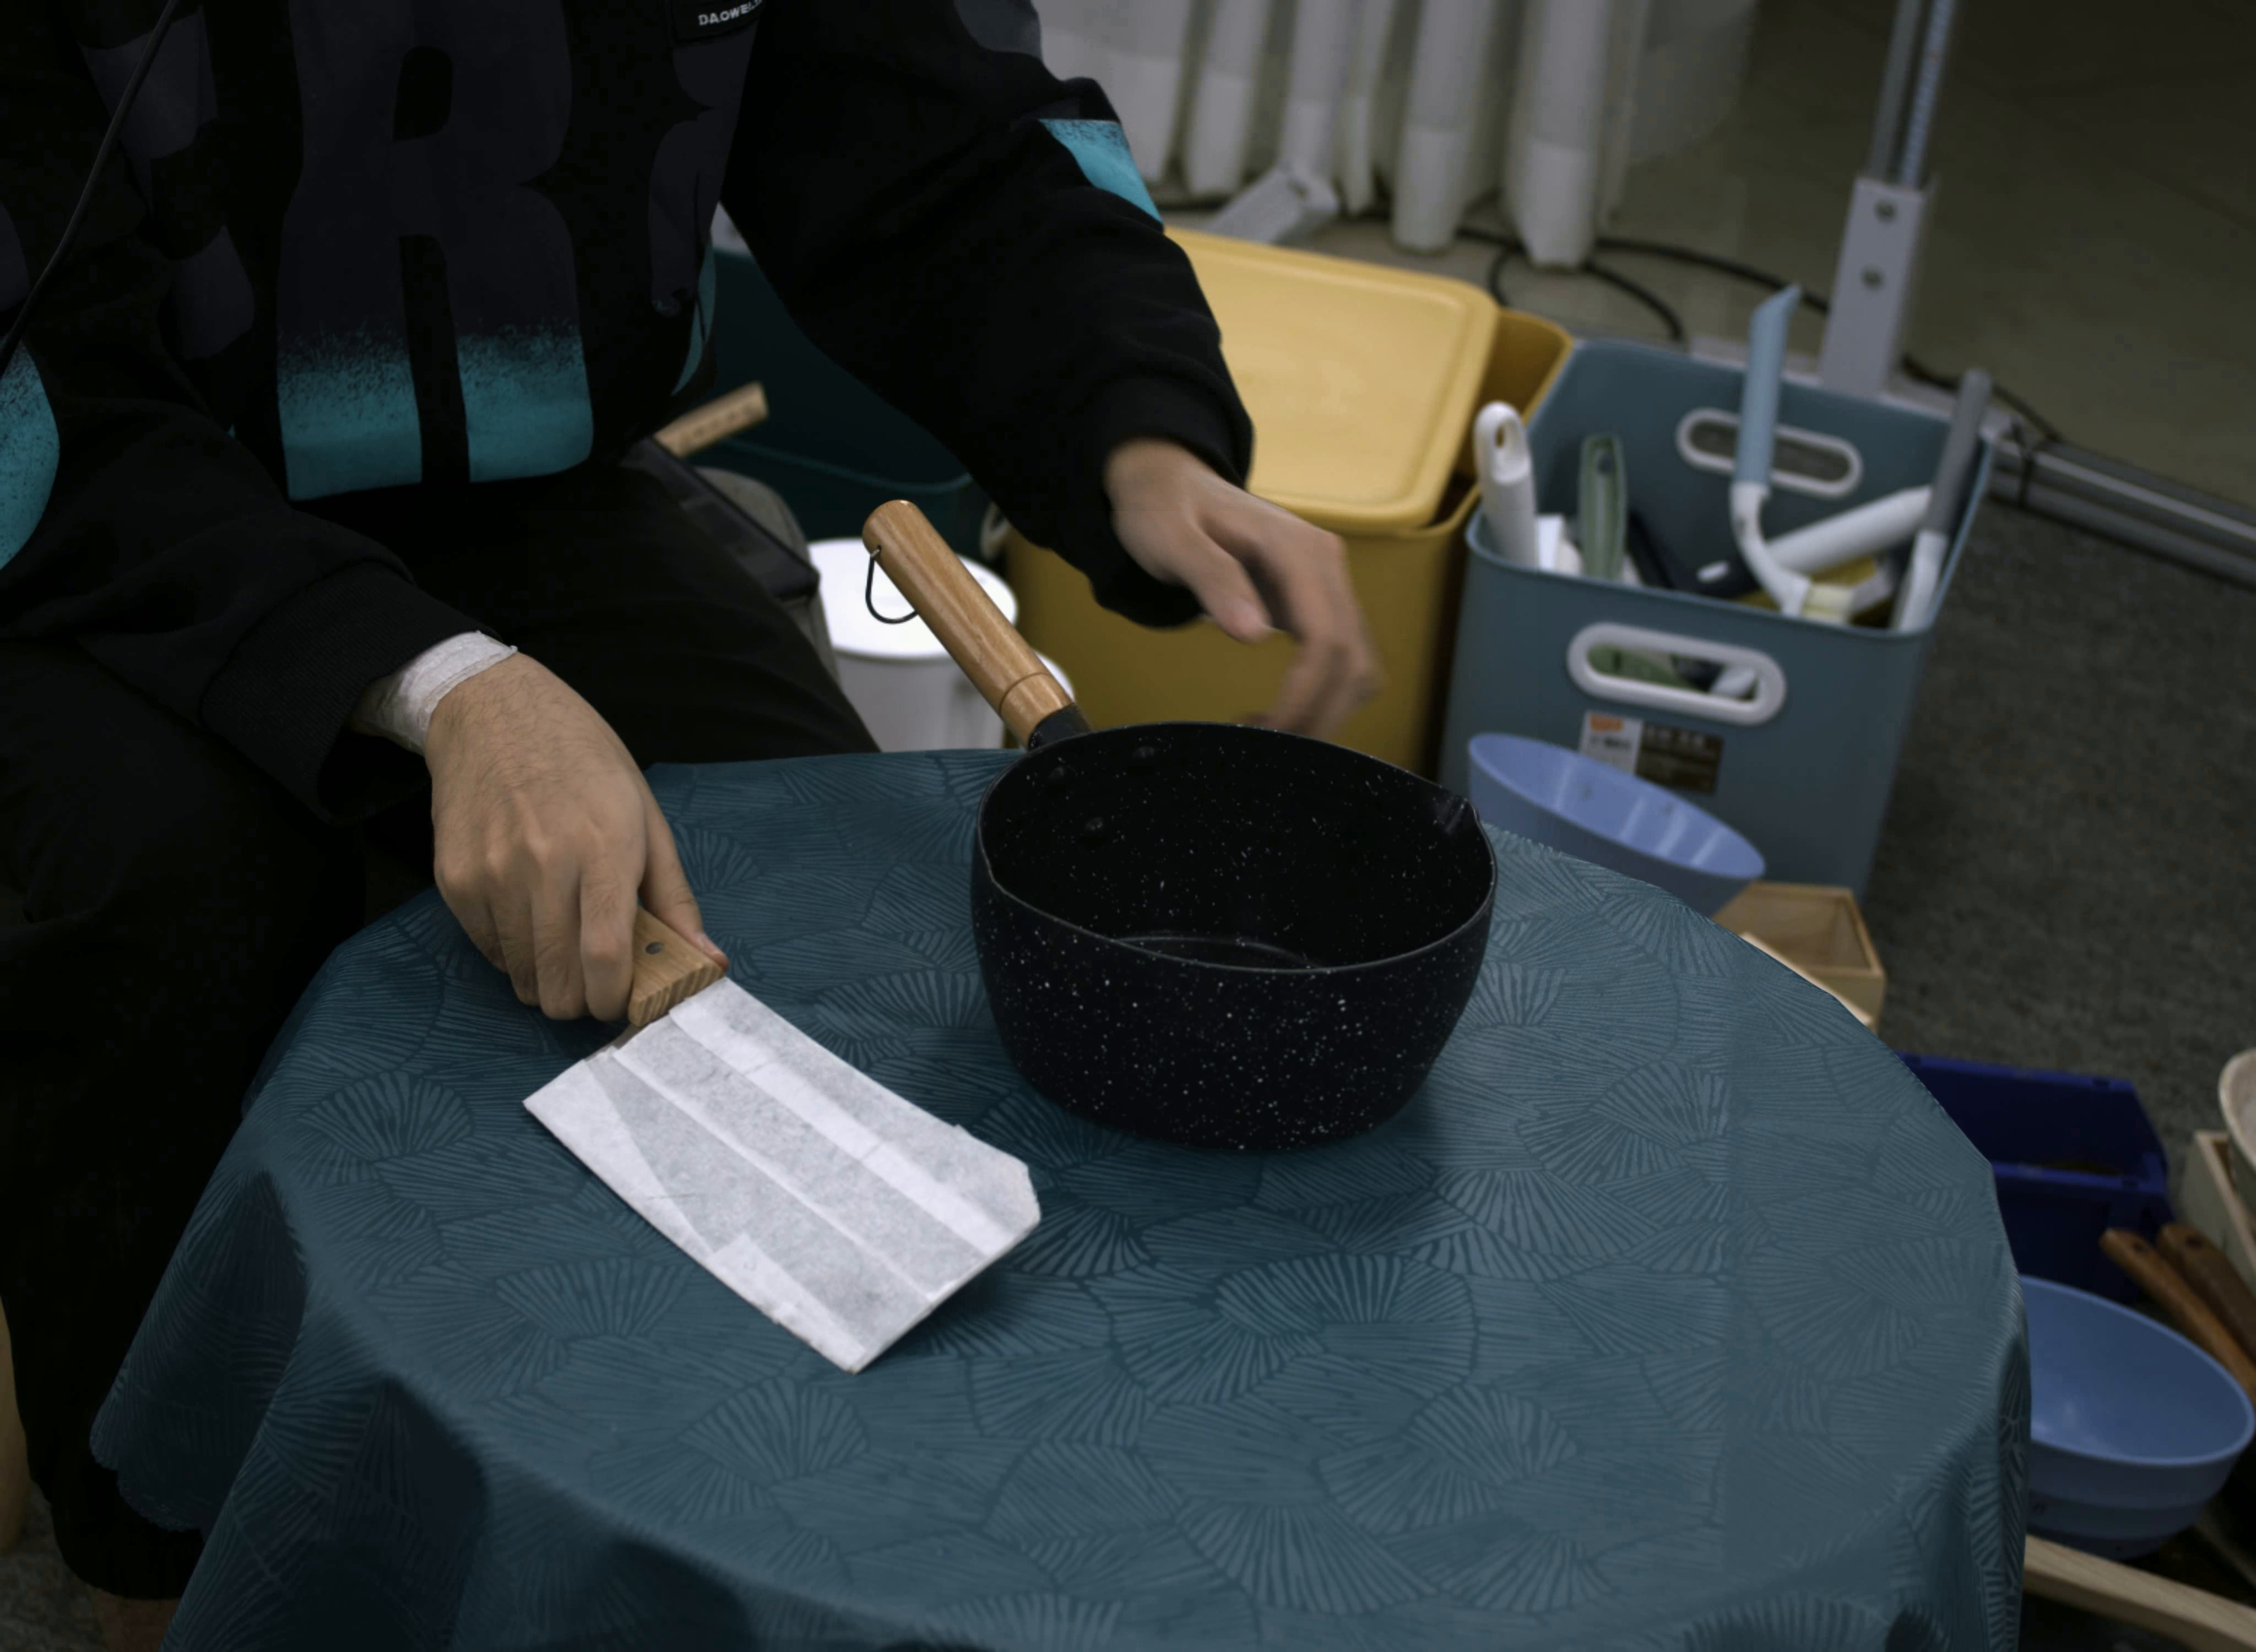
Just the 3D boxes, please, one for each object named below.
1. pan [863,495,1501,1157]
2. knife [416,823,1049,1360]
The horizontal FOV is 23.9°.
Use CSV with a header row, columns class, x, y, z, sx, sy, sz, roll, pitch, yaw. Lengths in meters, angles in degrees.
class,x,y,z,sx,sy,sz,roll,pitch,yaw
pan,-0.008,-0.003,1.928,0.206,0.108,0.346,-13,34,-32
knife,-0.147,0.081,1.806,0.113,0.021,0.318,-32,44,-22
